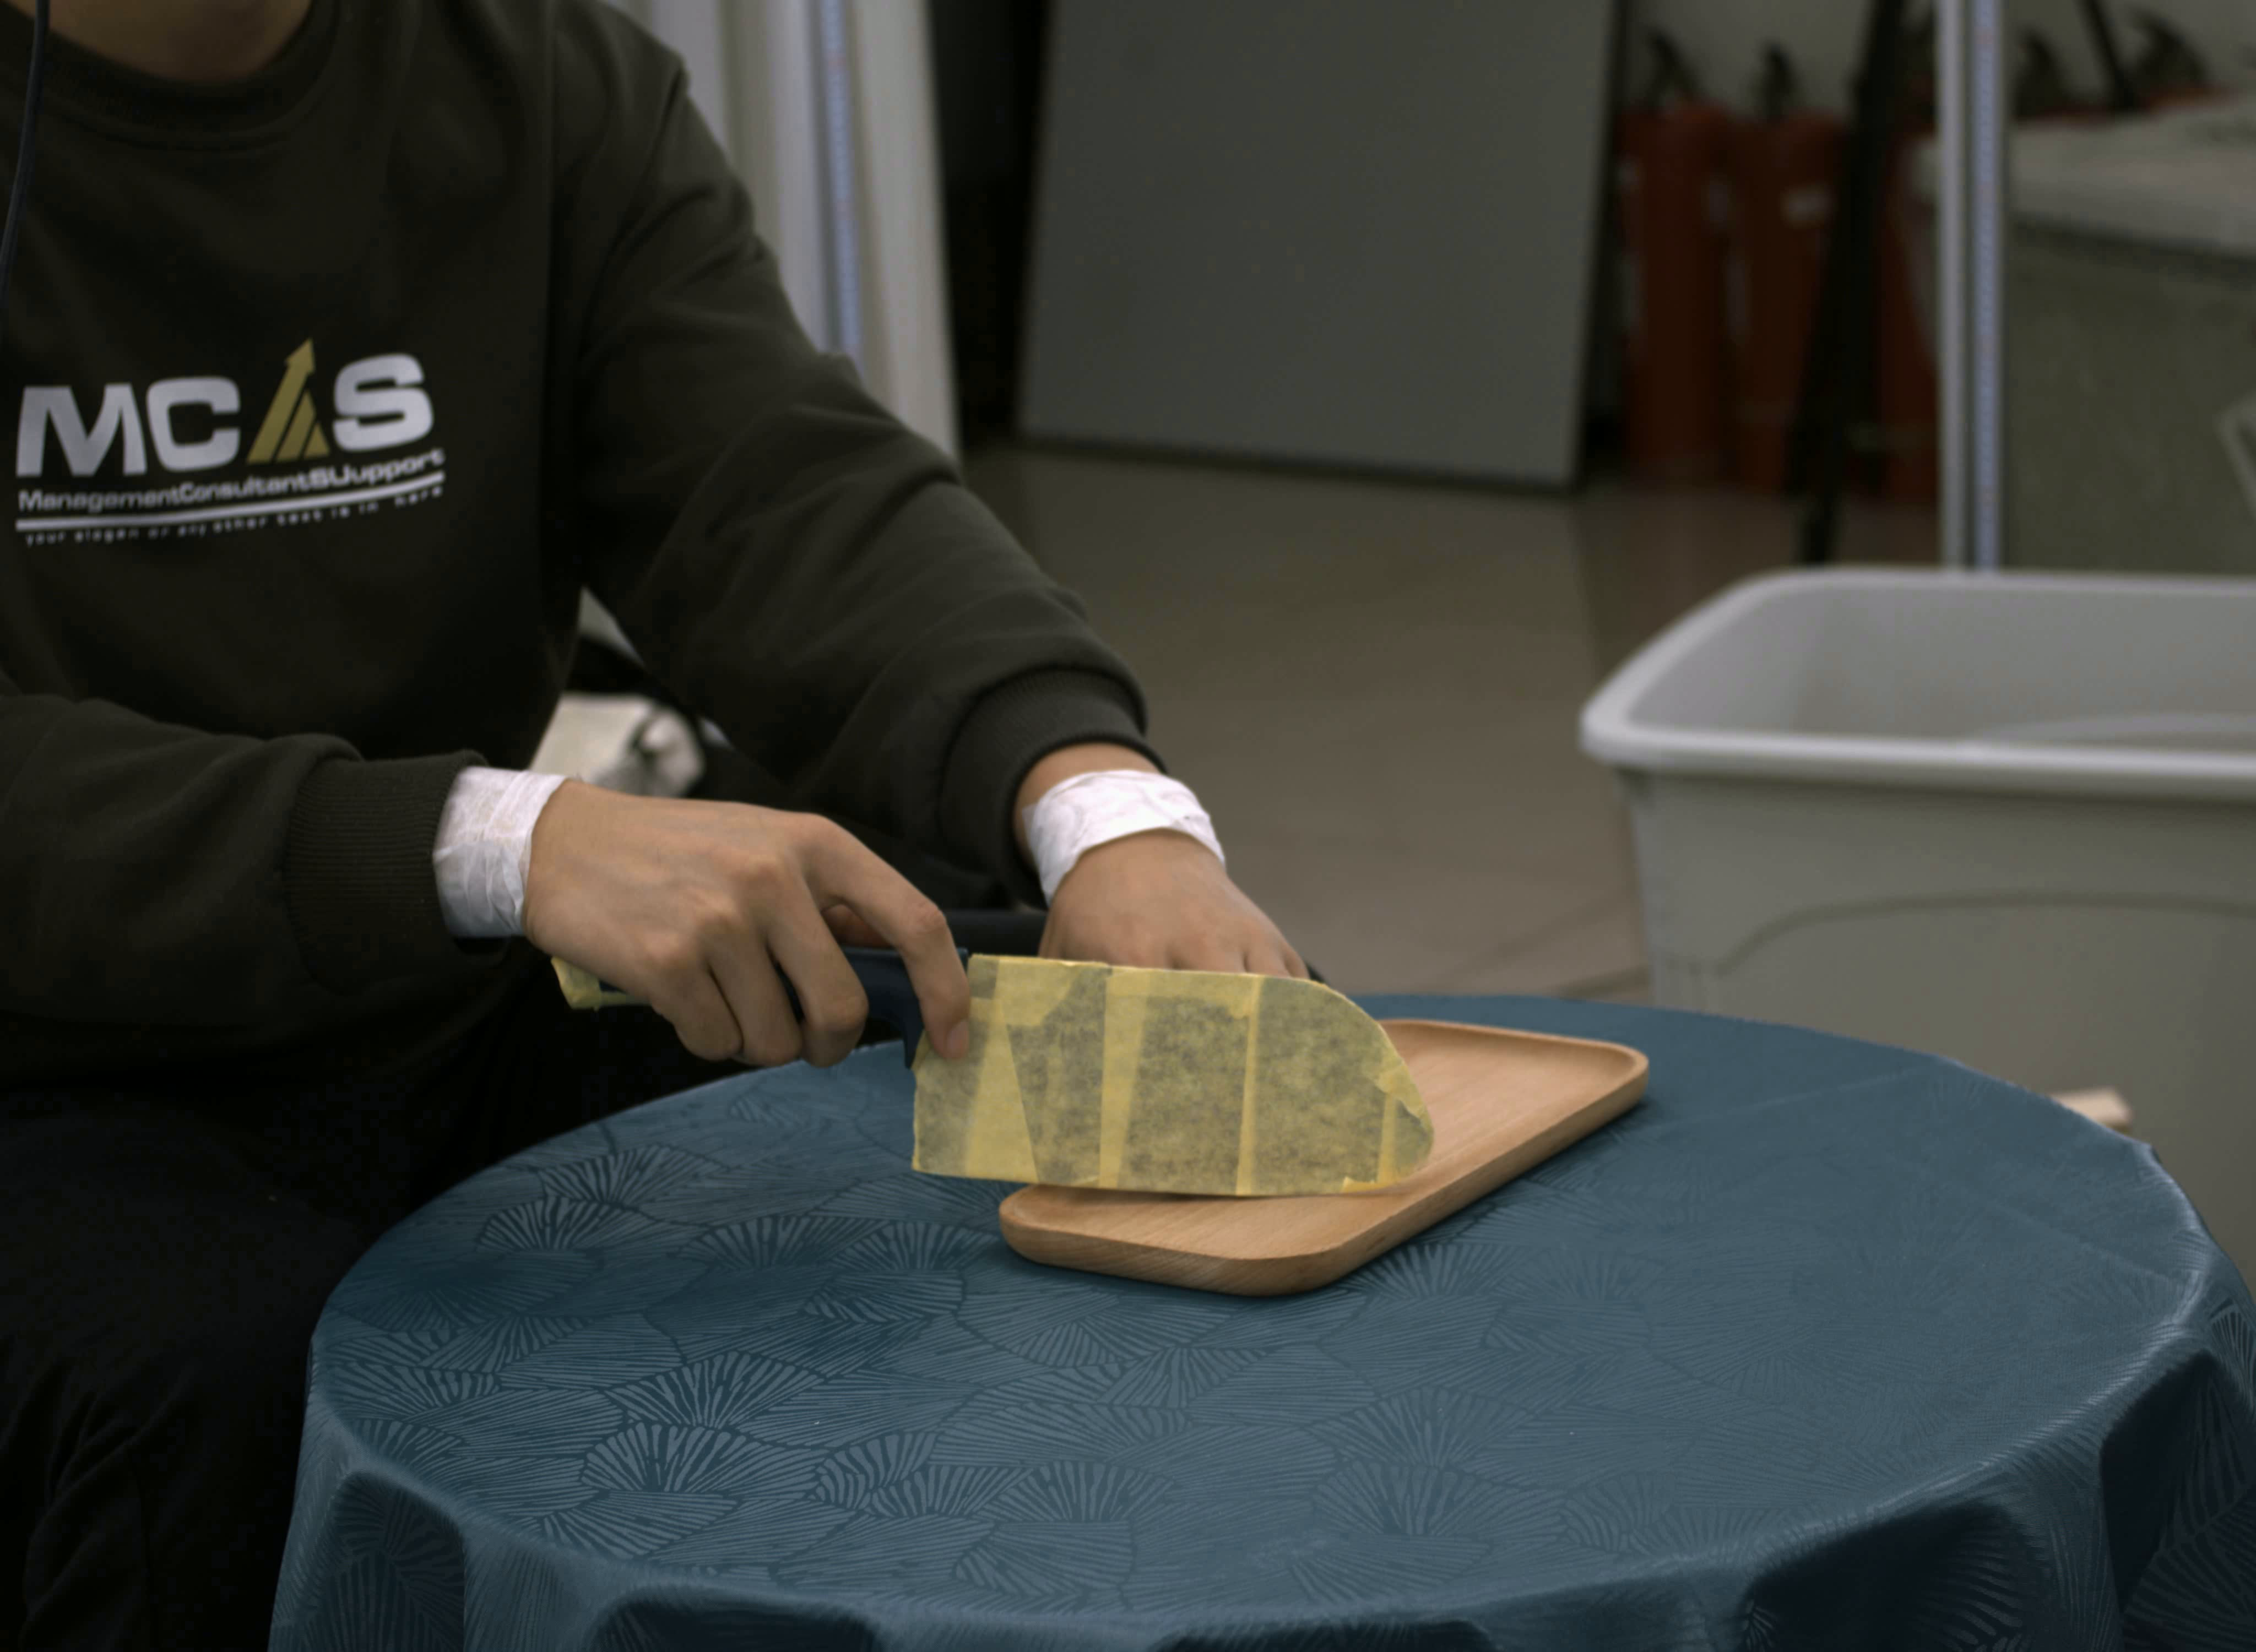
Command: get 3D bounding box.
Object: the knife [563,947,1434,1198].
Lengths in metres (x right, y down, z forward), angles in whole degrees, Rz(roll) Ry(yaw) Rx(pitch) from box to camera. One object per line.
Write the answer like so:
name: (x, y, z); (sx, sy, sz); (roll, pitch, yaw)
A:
knife: (-0.042, 0.078, 1.738); (0.287, 0.082, 0.027); (6, -2, 6)

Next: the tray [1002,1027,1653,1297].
tray: (0.070, 0.108, 1.773); (0.131, 0.023, 0.246); (2, 15, 35)
